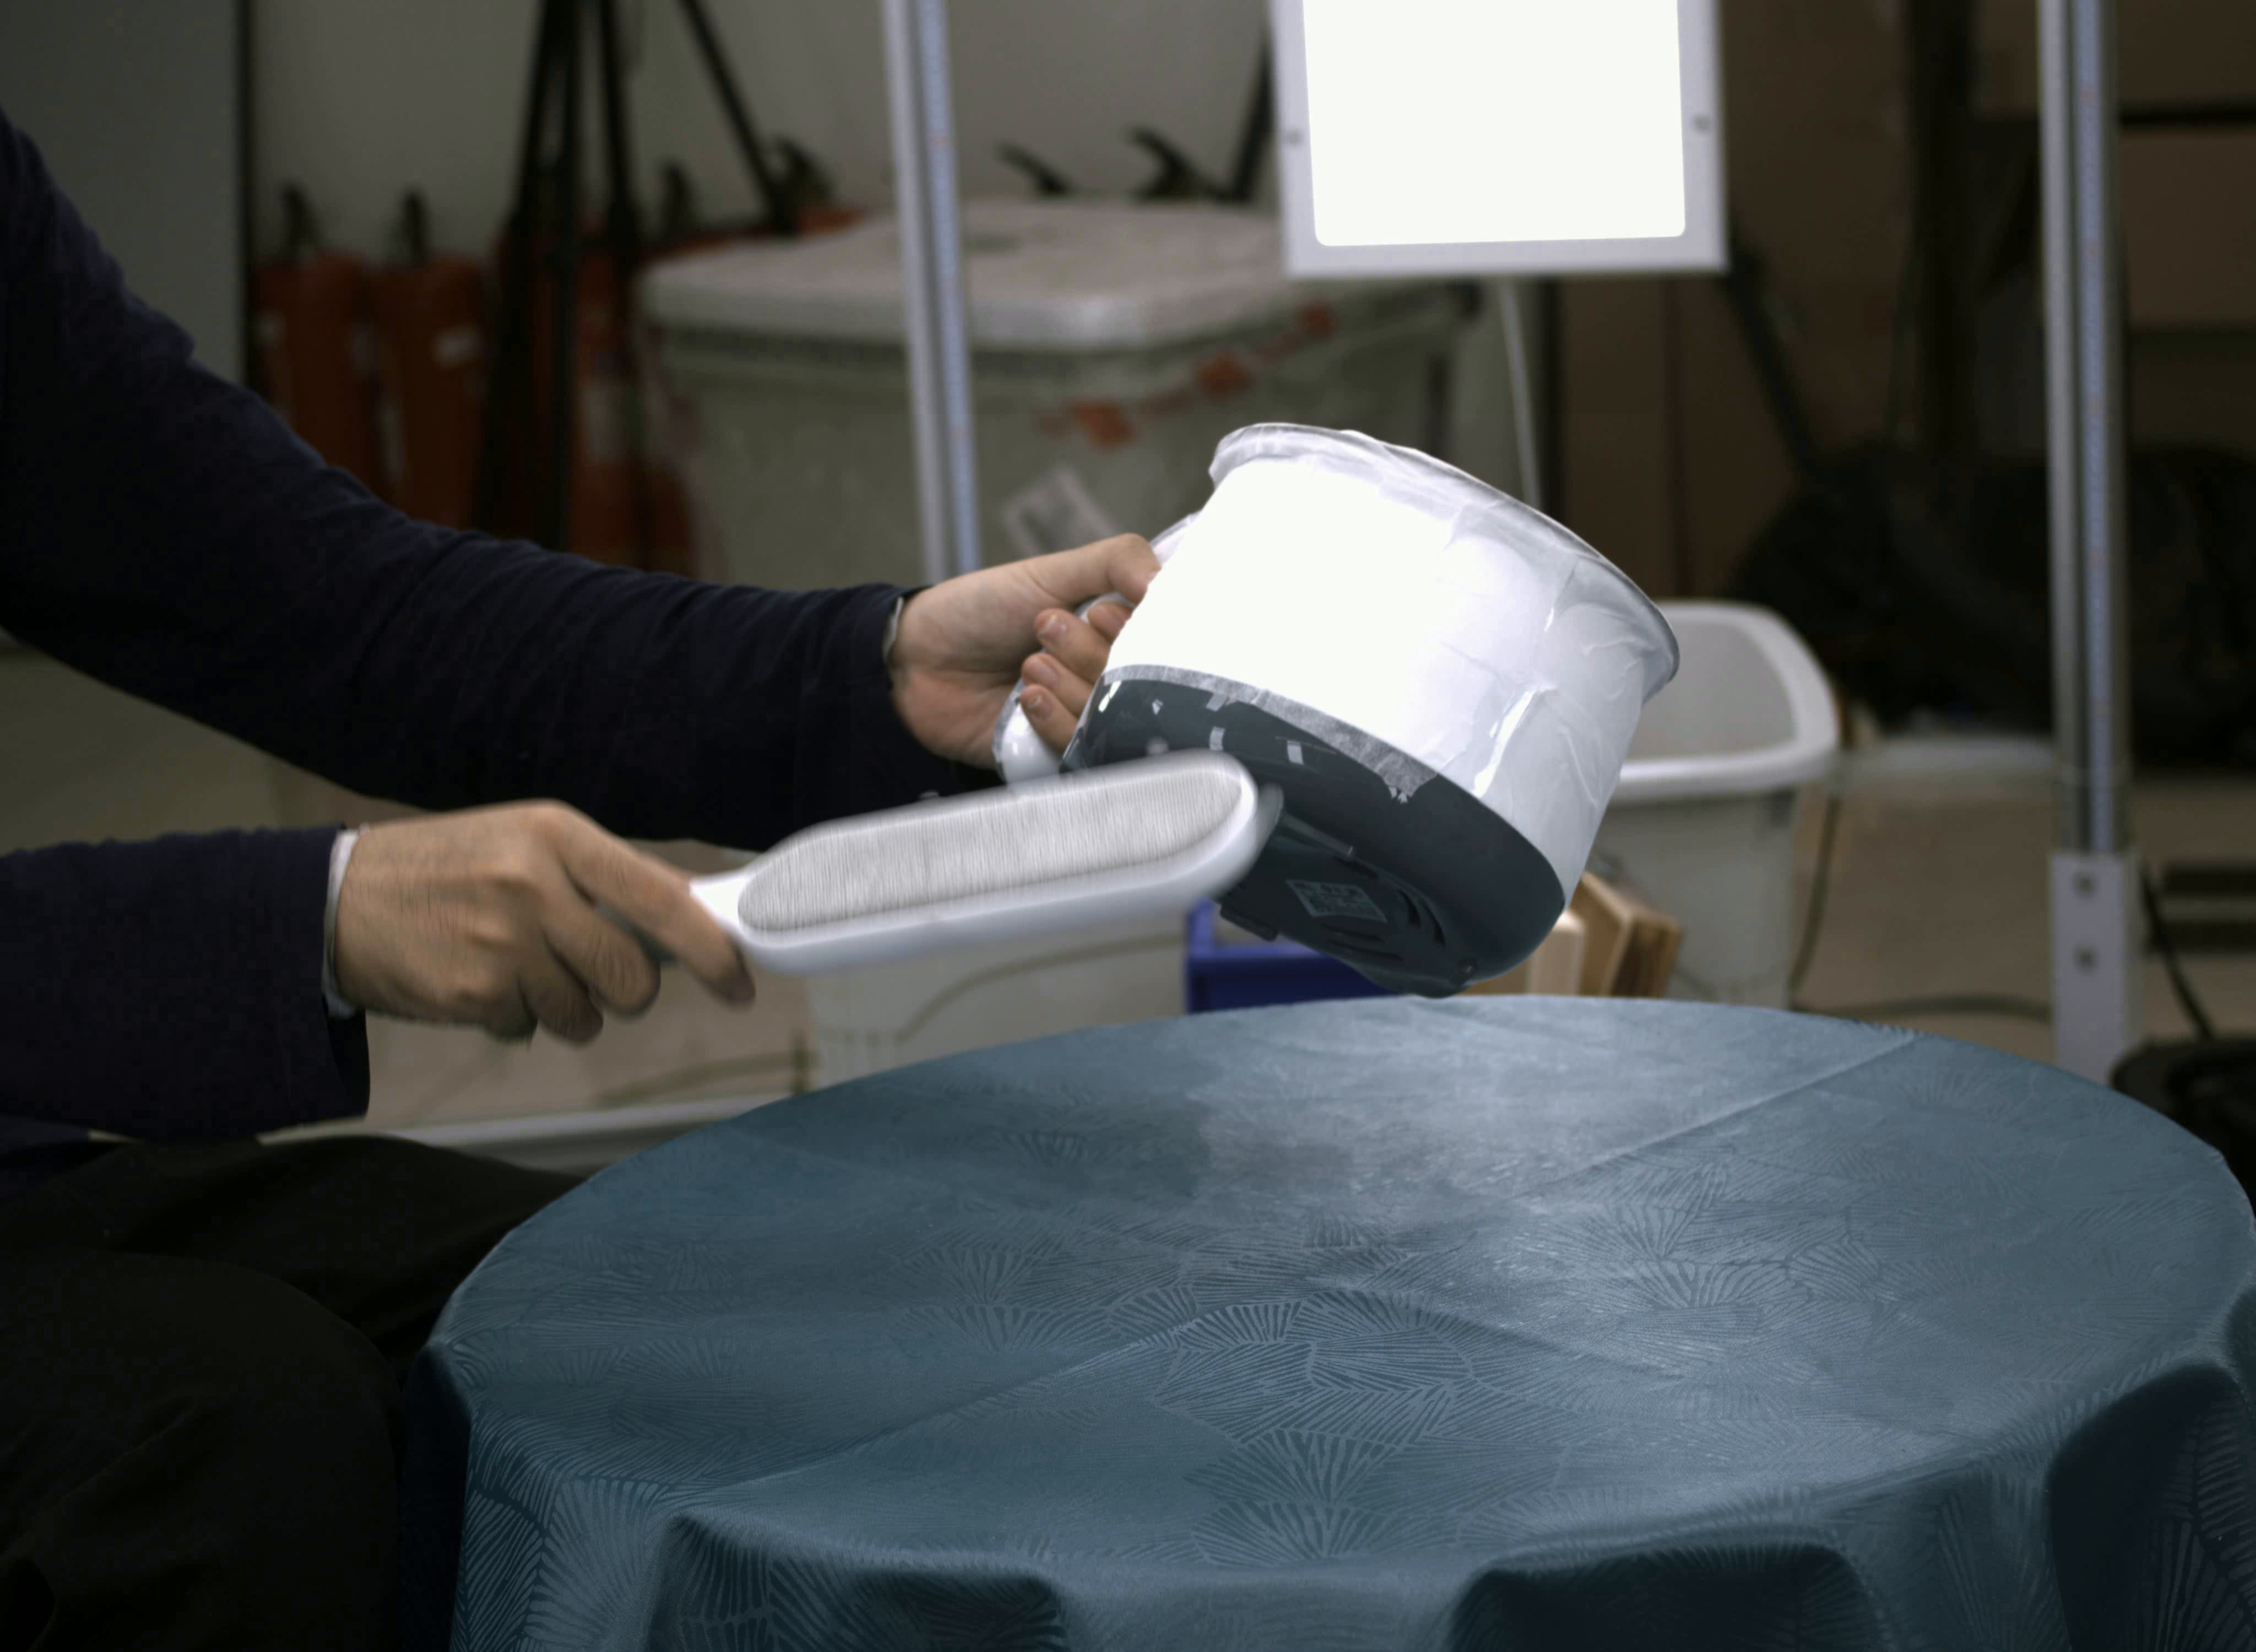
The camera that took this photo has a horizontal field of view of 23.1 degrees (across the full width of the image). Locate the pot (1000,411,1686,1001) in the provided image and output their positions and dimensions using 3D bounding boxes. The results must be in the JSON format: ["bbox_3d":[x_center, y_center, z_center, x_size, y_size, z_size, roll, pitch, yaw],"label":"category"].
[{"bbox_3d":[0.063,-0.044,1.897,0.238,0.135,0.176,14,-22,41],"label":"pot"}]

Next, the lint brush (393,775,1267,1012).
[{"bbox_3d":[-0.099,0.026,1.742,0.314,0.021,0.059,-9,43,26],"label":"lint brush"}]
